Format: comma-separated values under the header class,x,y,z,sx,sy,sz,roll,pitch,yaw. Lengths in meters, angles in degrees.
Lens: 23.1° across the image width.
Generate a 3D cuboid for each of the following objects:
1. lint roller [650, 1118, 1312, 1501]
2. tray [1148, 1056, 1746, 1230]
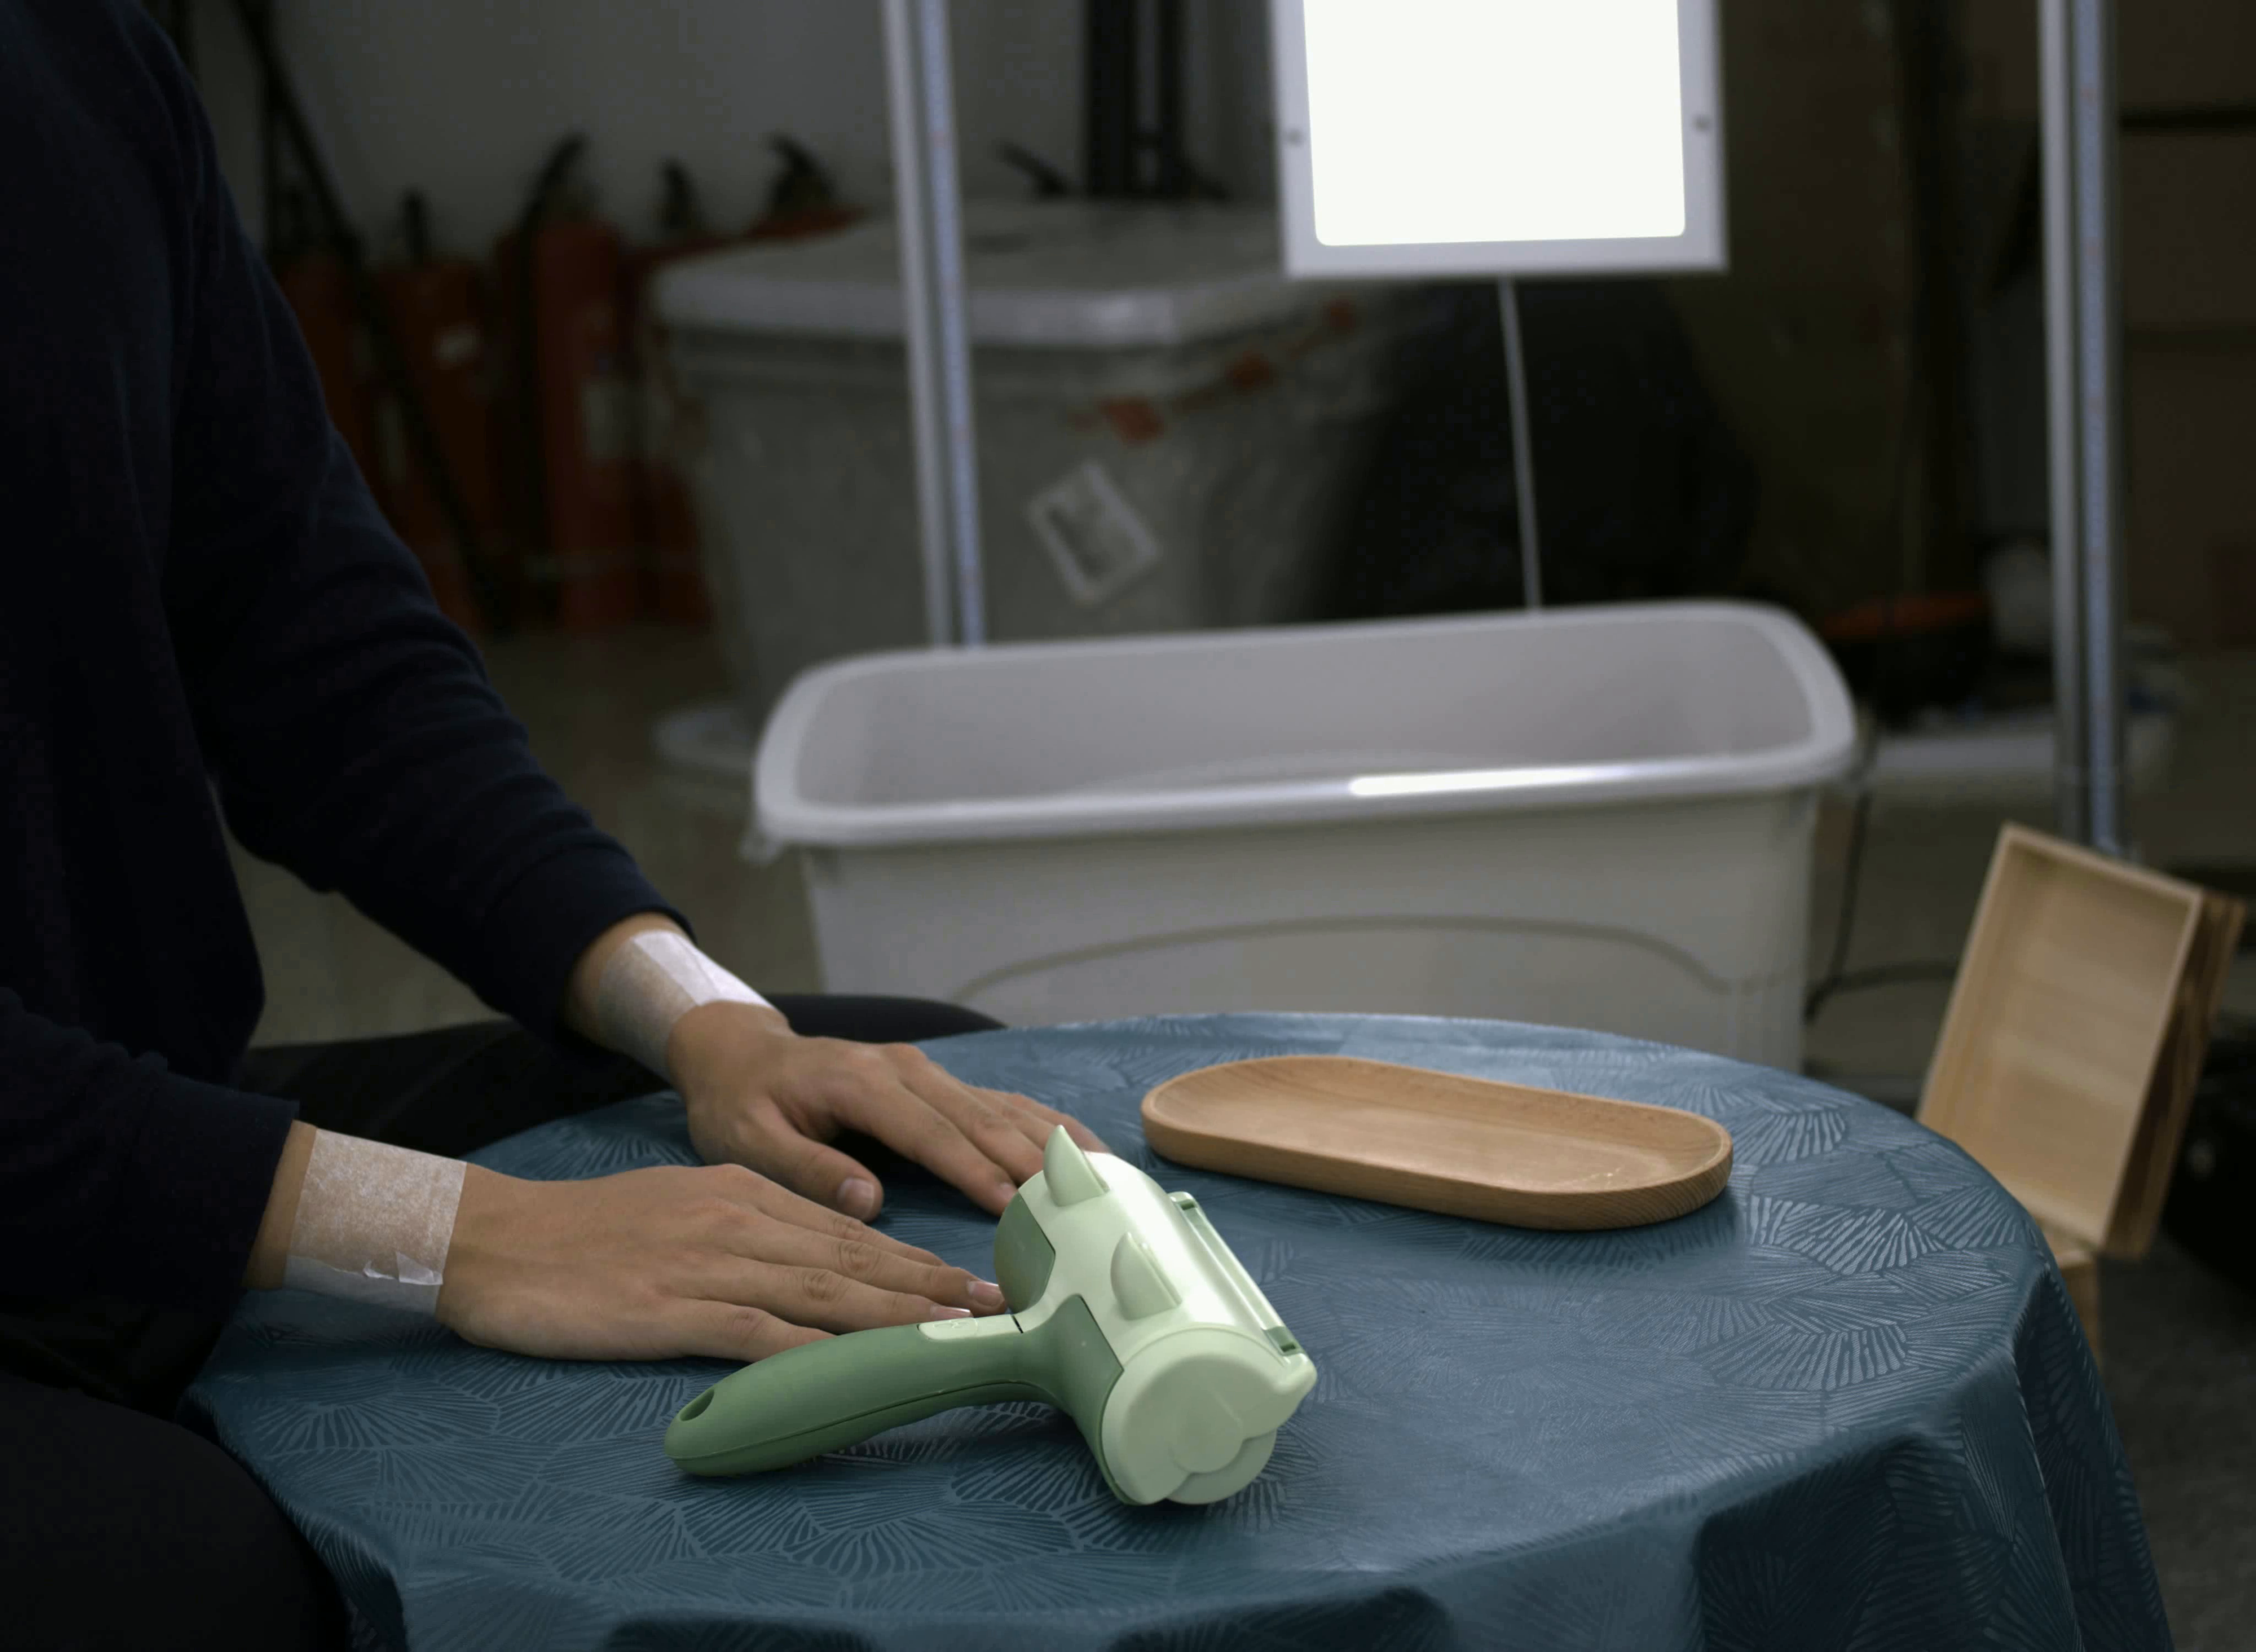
class,x,y,z,sx,sy,sz,roll,pitch,yaw
lint roller,-0.053,0.145,1.662,0.181,0.082,0.200,-2,13,-10
tray,0.108,0.109,1.896,0.236,0.020,0.099,9,20,40
